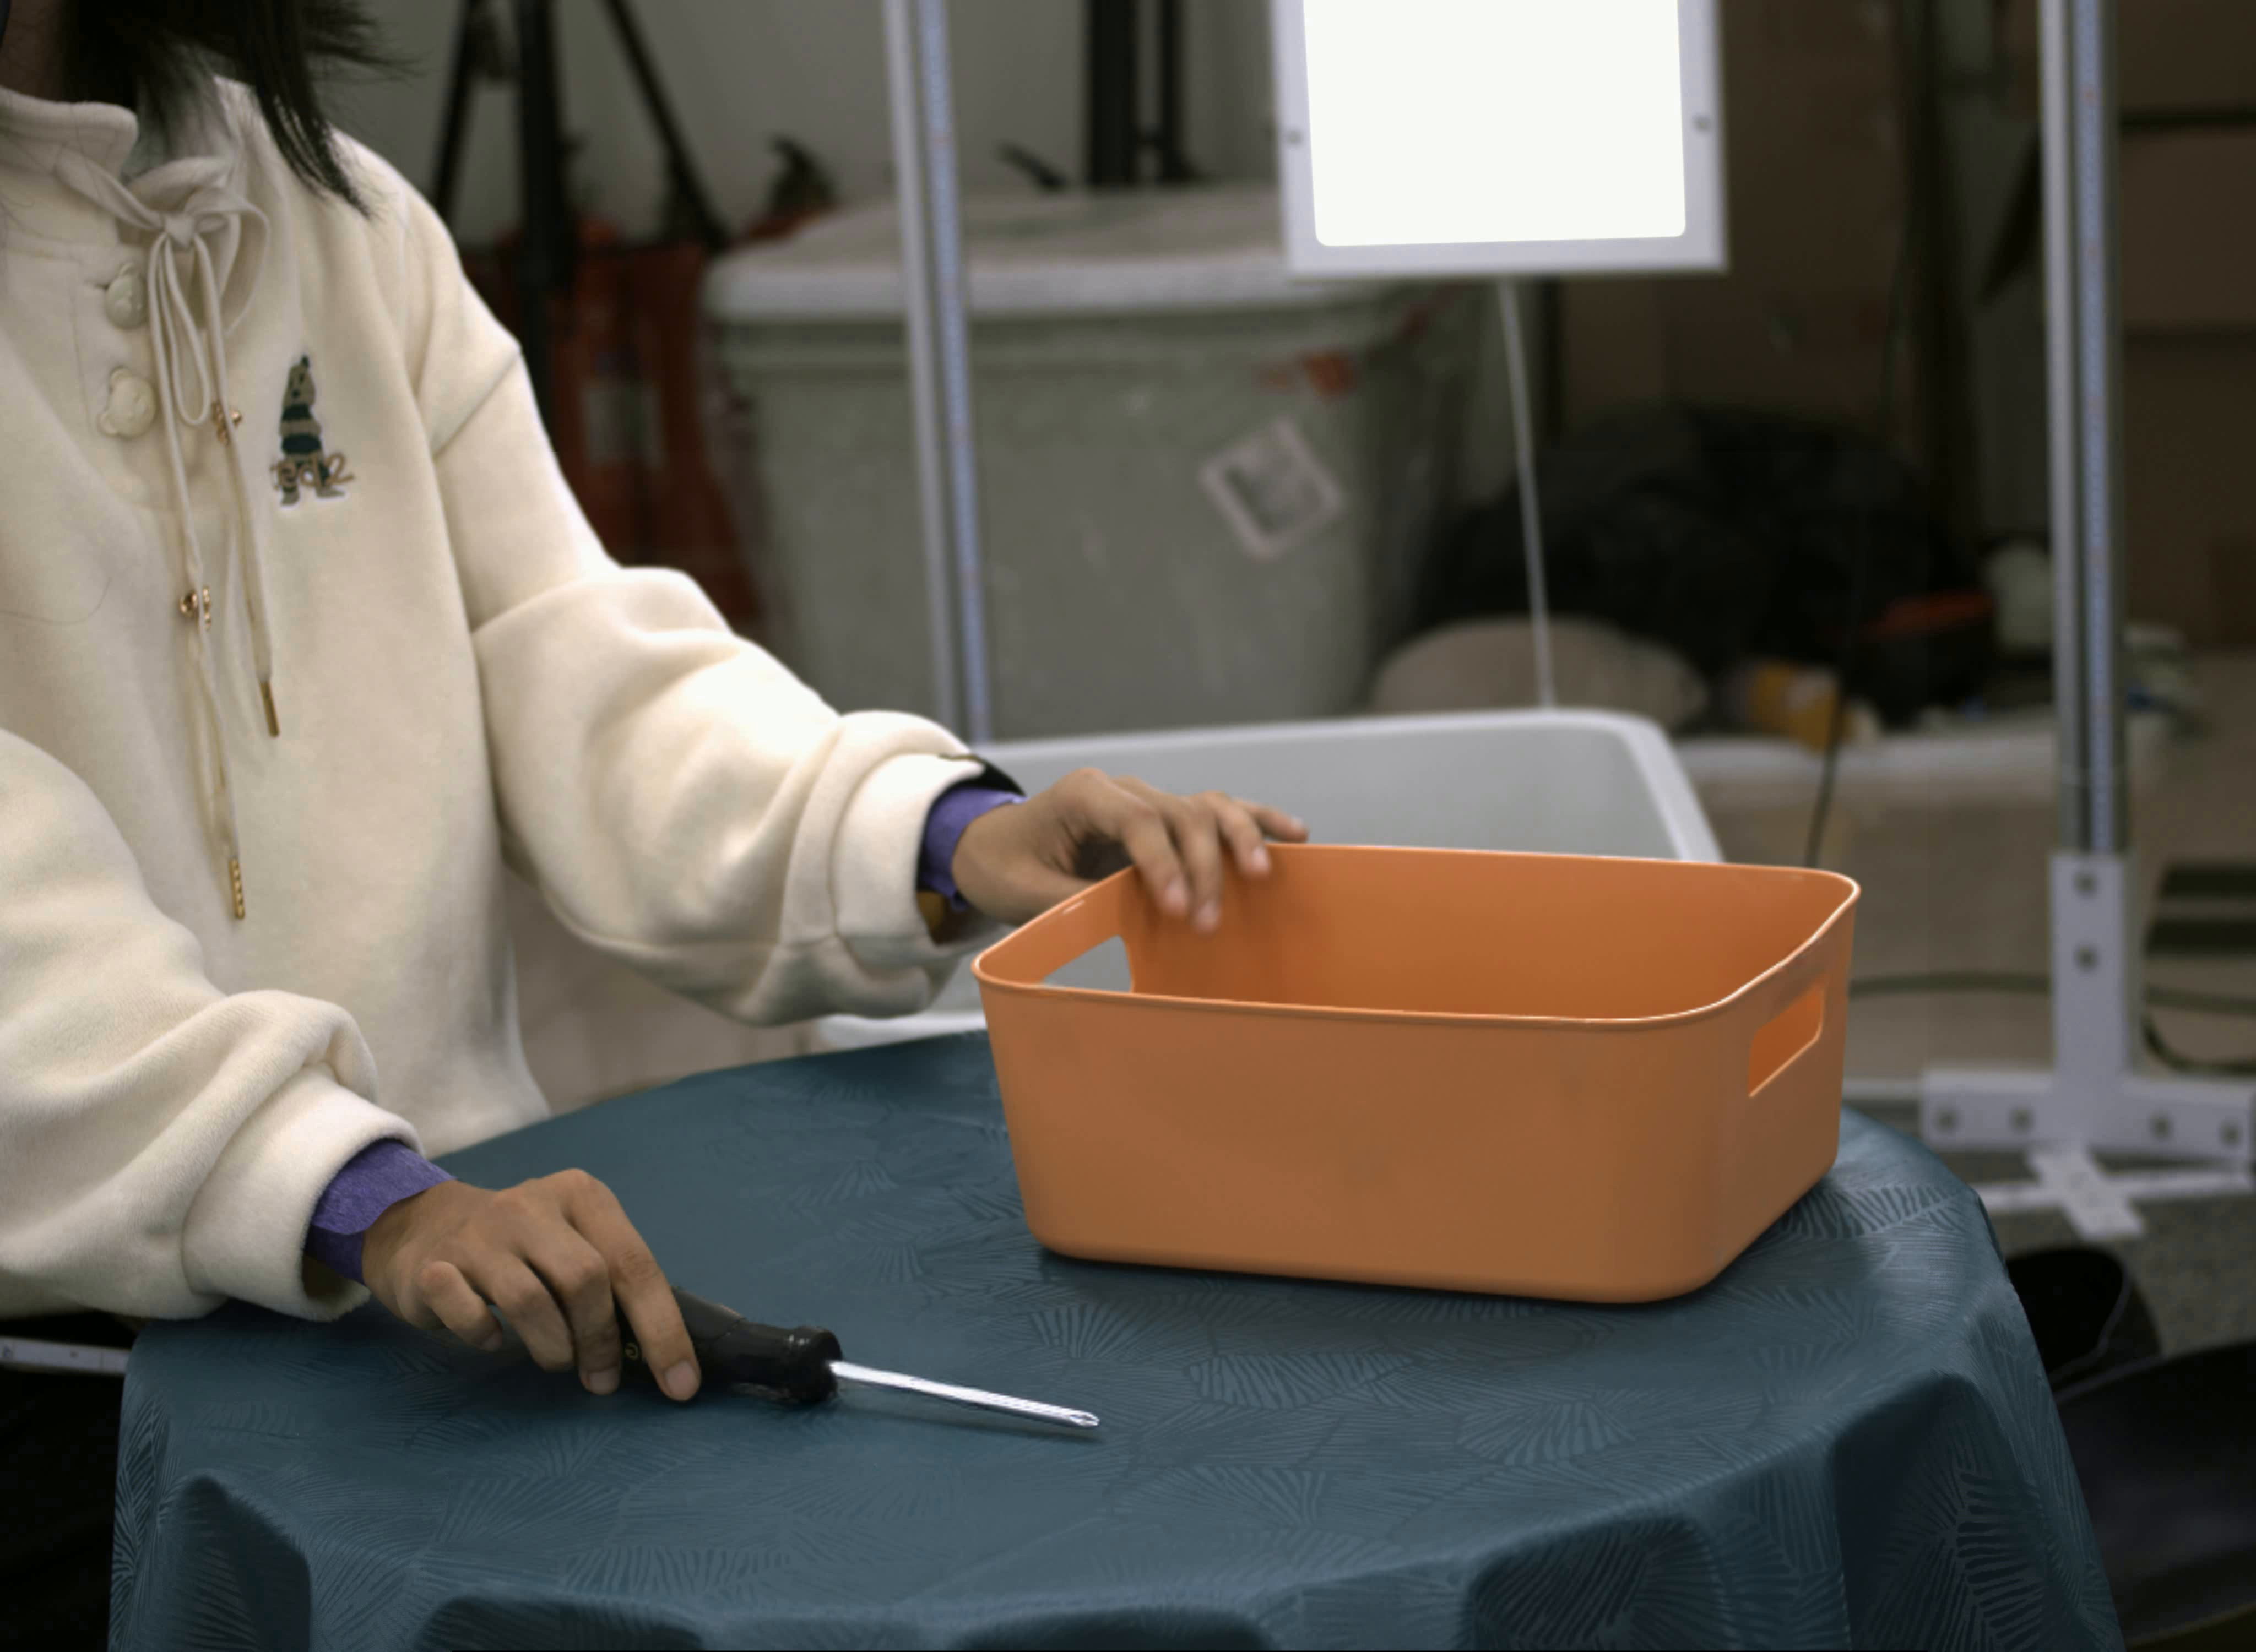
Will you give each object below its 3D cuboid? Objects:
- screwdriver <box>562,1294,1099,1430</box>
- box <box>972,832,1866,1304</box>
[{"bbox_3d":[-0.095,0.172,1.711,0.200,0.031,0.031,9,19,34],"label":"screwdriver"},{"bbox_3d":[0.101,0.078,1.836,0.278,0.103,0.195,3,17,27],"label":"box"}]
